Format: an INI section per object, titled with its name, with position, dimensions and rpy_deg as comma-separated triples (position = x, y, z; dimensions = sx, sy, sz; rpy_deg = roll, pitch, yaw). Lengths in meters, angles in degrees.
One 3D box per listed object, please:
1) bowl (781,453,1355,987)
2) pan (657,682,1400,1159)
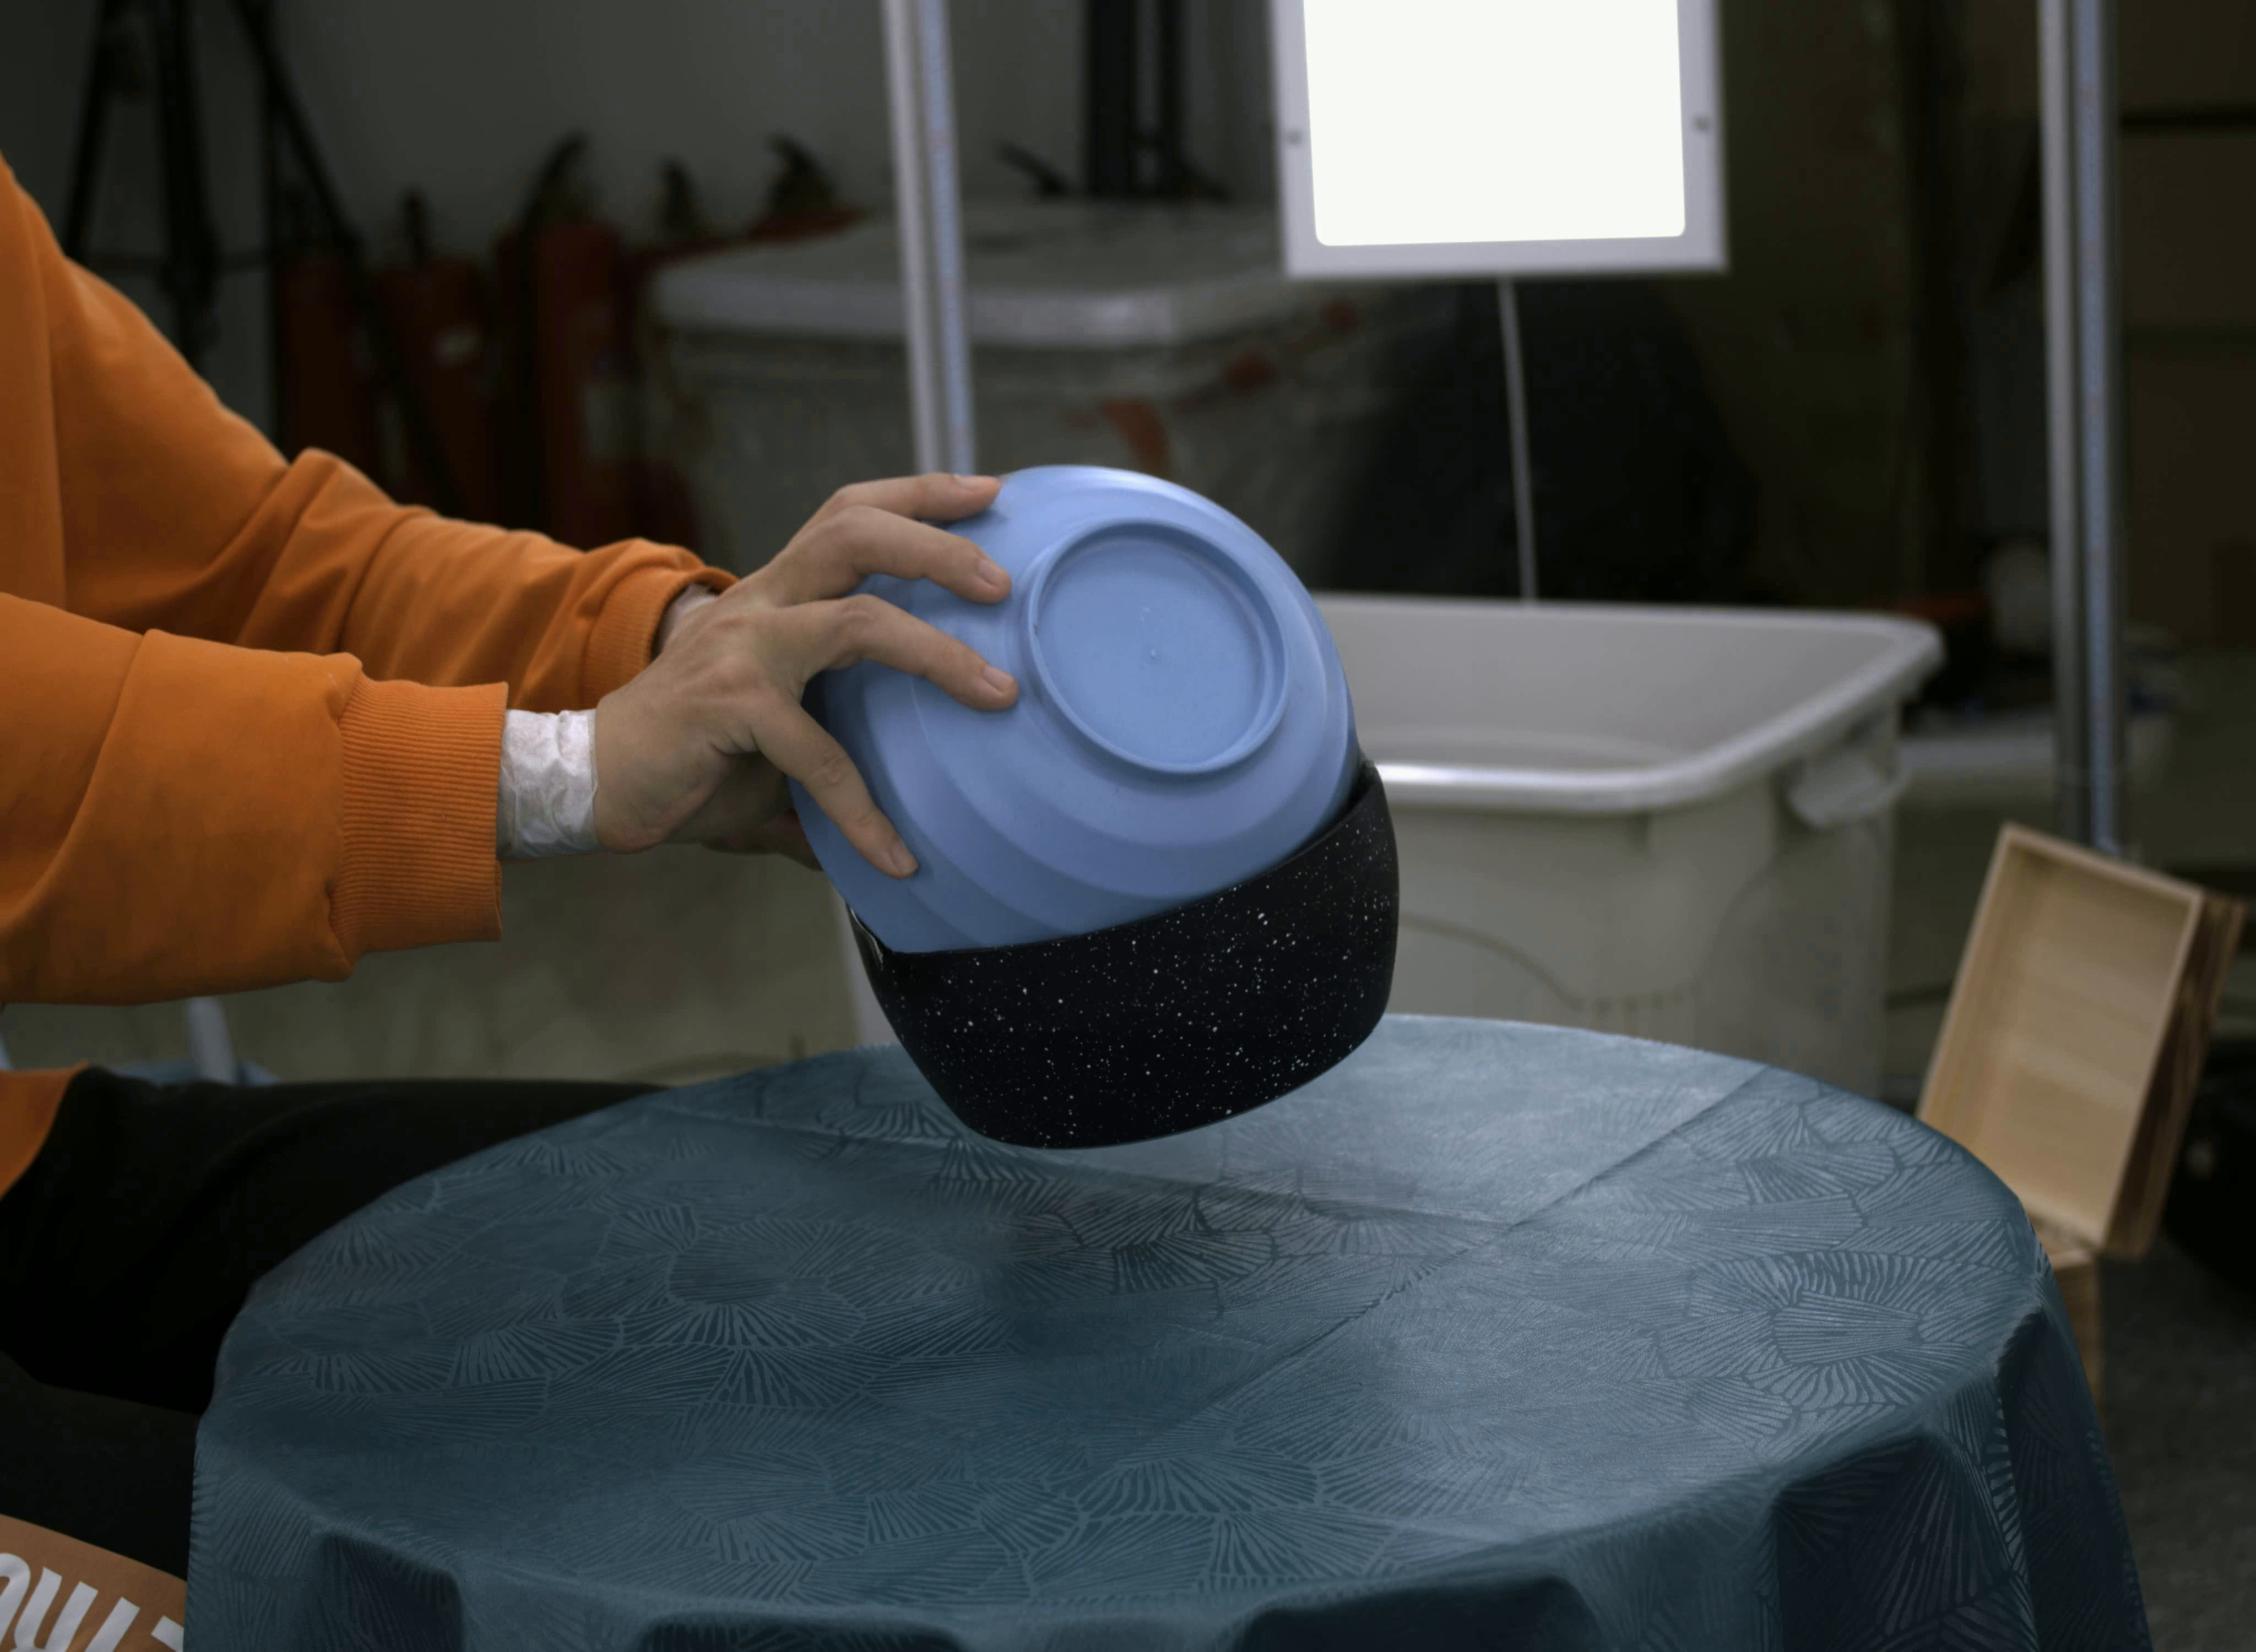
[bowl]
position = -0.006, -0.043, 1.787
dimensions = 0.192, 0.197, 0.097
rpy_deg = -11, -19, -25
[pan]
position = -0.049, 0.020, 1.899
dimensions = 0.203, 0.108, 0.350
rpy_deg = -31, 25, -32
